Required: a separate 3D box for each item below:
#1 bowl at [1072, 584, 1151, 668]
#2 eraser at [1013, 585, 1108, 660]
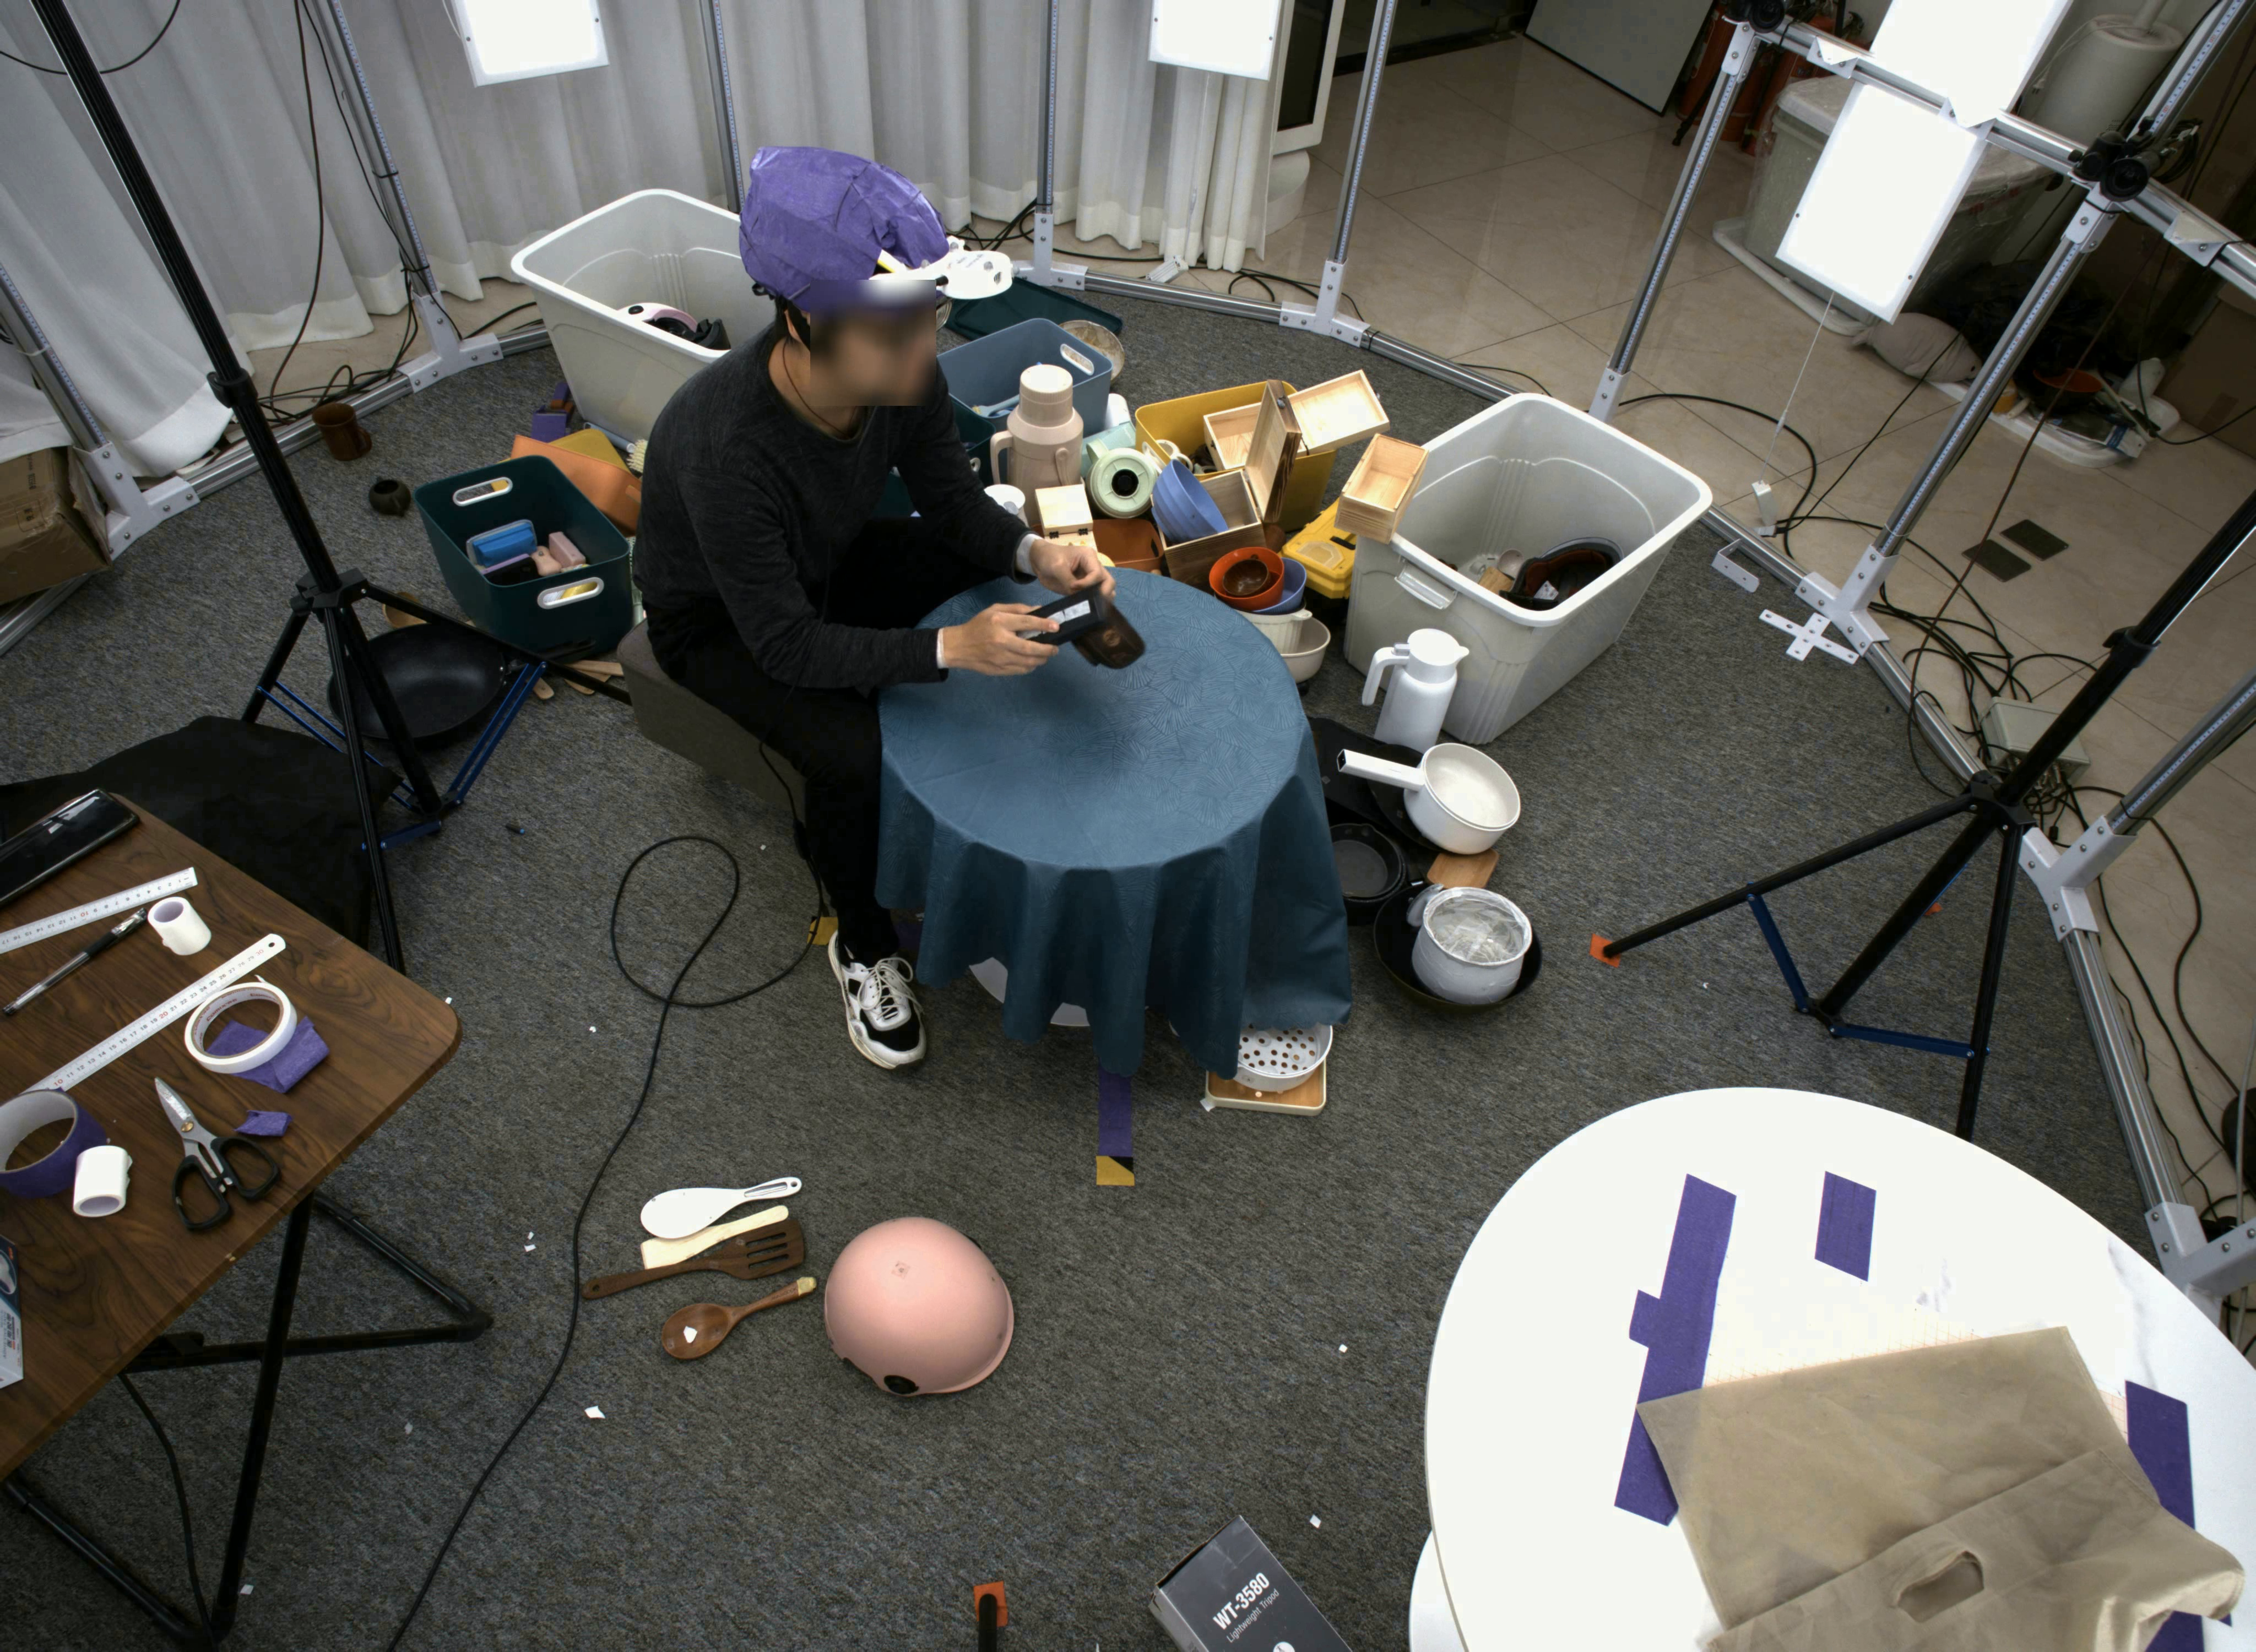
[{"bbox_3d":[-0.033,-0.262,1.736,0.069,0.116,0.120,-43,55,14],"label":"bowl"},{"bbox_3d":[-0.089,-0.266,1.685,0.125,0.030,0.054,-21,74,21],"label":"eraser"}]
